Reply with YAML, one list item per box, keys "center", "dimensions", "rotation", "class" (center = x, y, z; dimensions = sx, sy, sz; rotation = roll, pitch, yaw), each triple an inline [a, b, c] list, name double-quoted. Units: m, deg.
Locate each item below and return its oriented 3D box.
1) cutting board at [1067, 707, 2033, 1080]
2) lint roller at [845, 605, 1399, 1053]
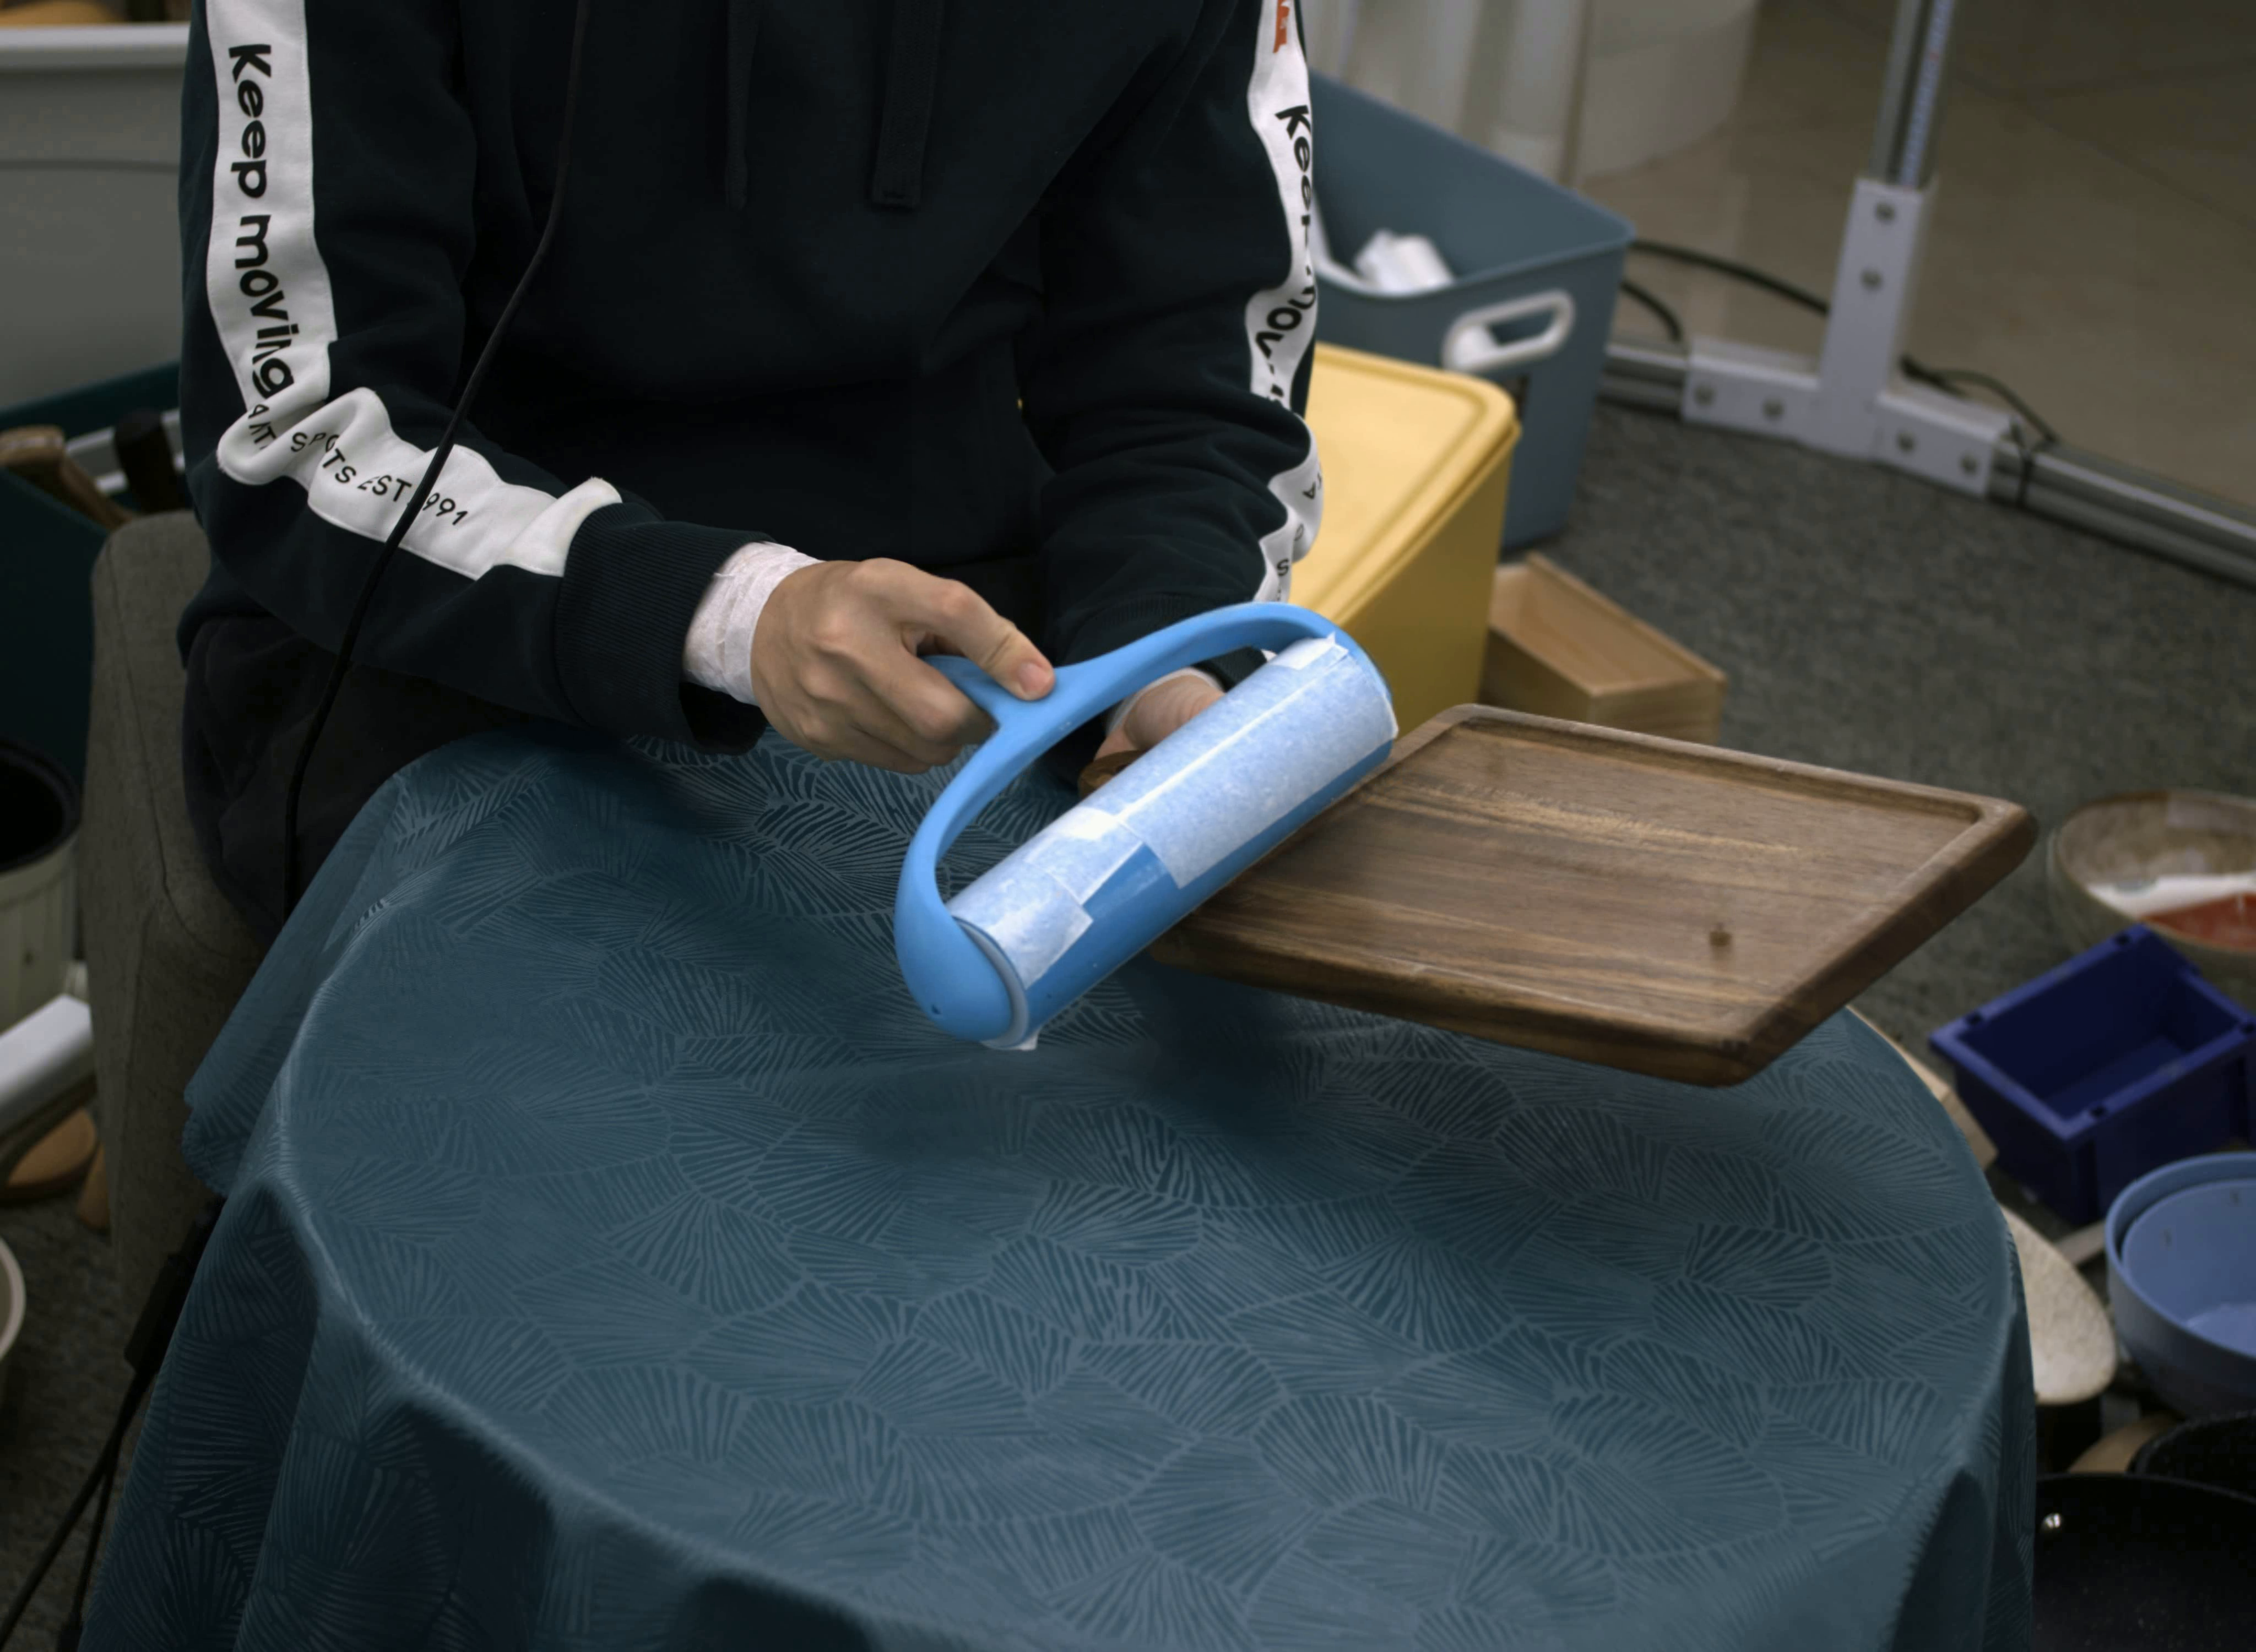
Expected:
- center: [0.121, 0.012, 1.876]
  dimensions: [0.354, 0.023, 0.200]
  rotation: [11, 30, 38]
  class: "cutting board"
- center: [-0.033, -0.021, 1.872]
  dimensions: [0.181, 0.067, 0.229]
  rotation: [29, 51, 28]
  class: "lint roller"
